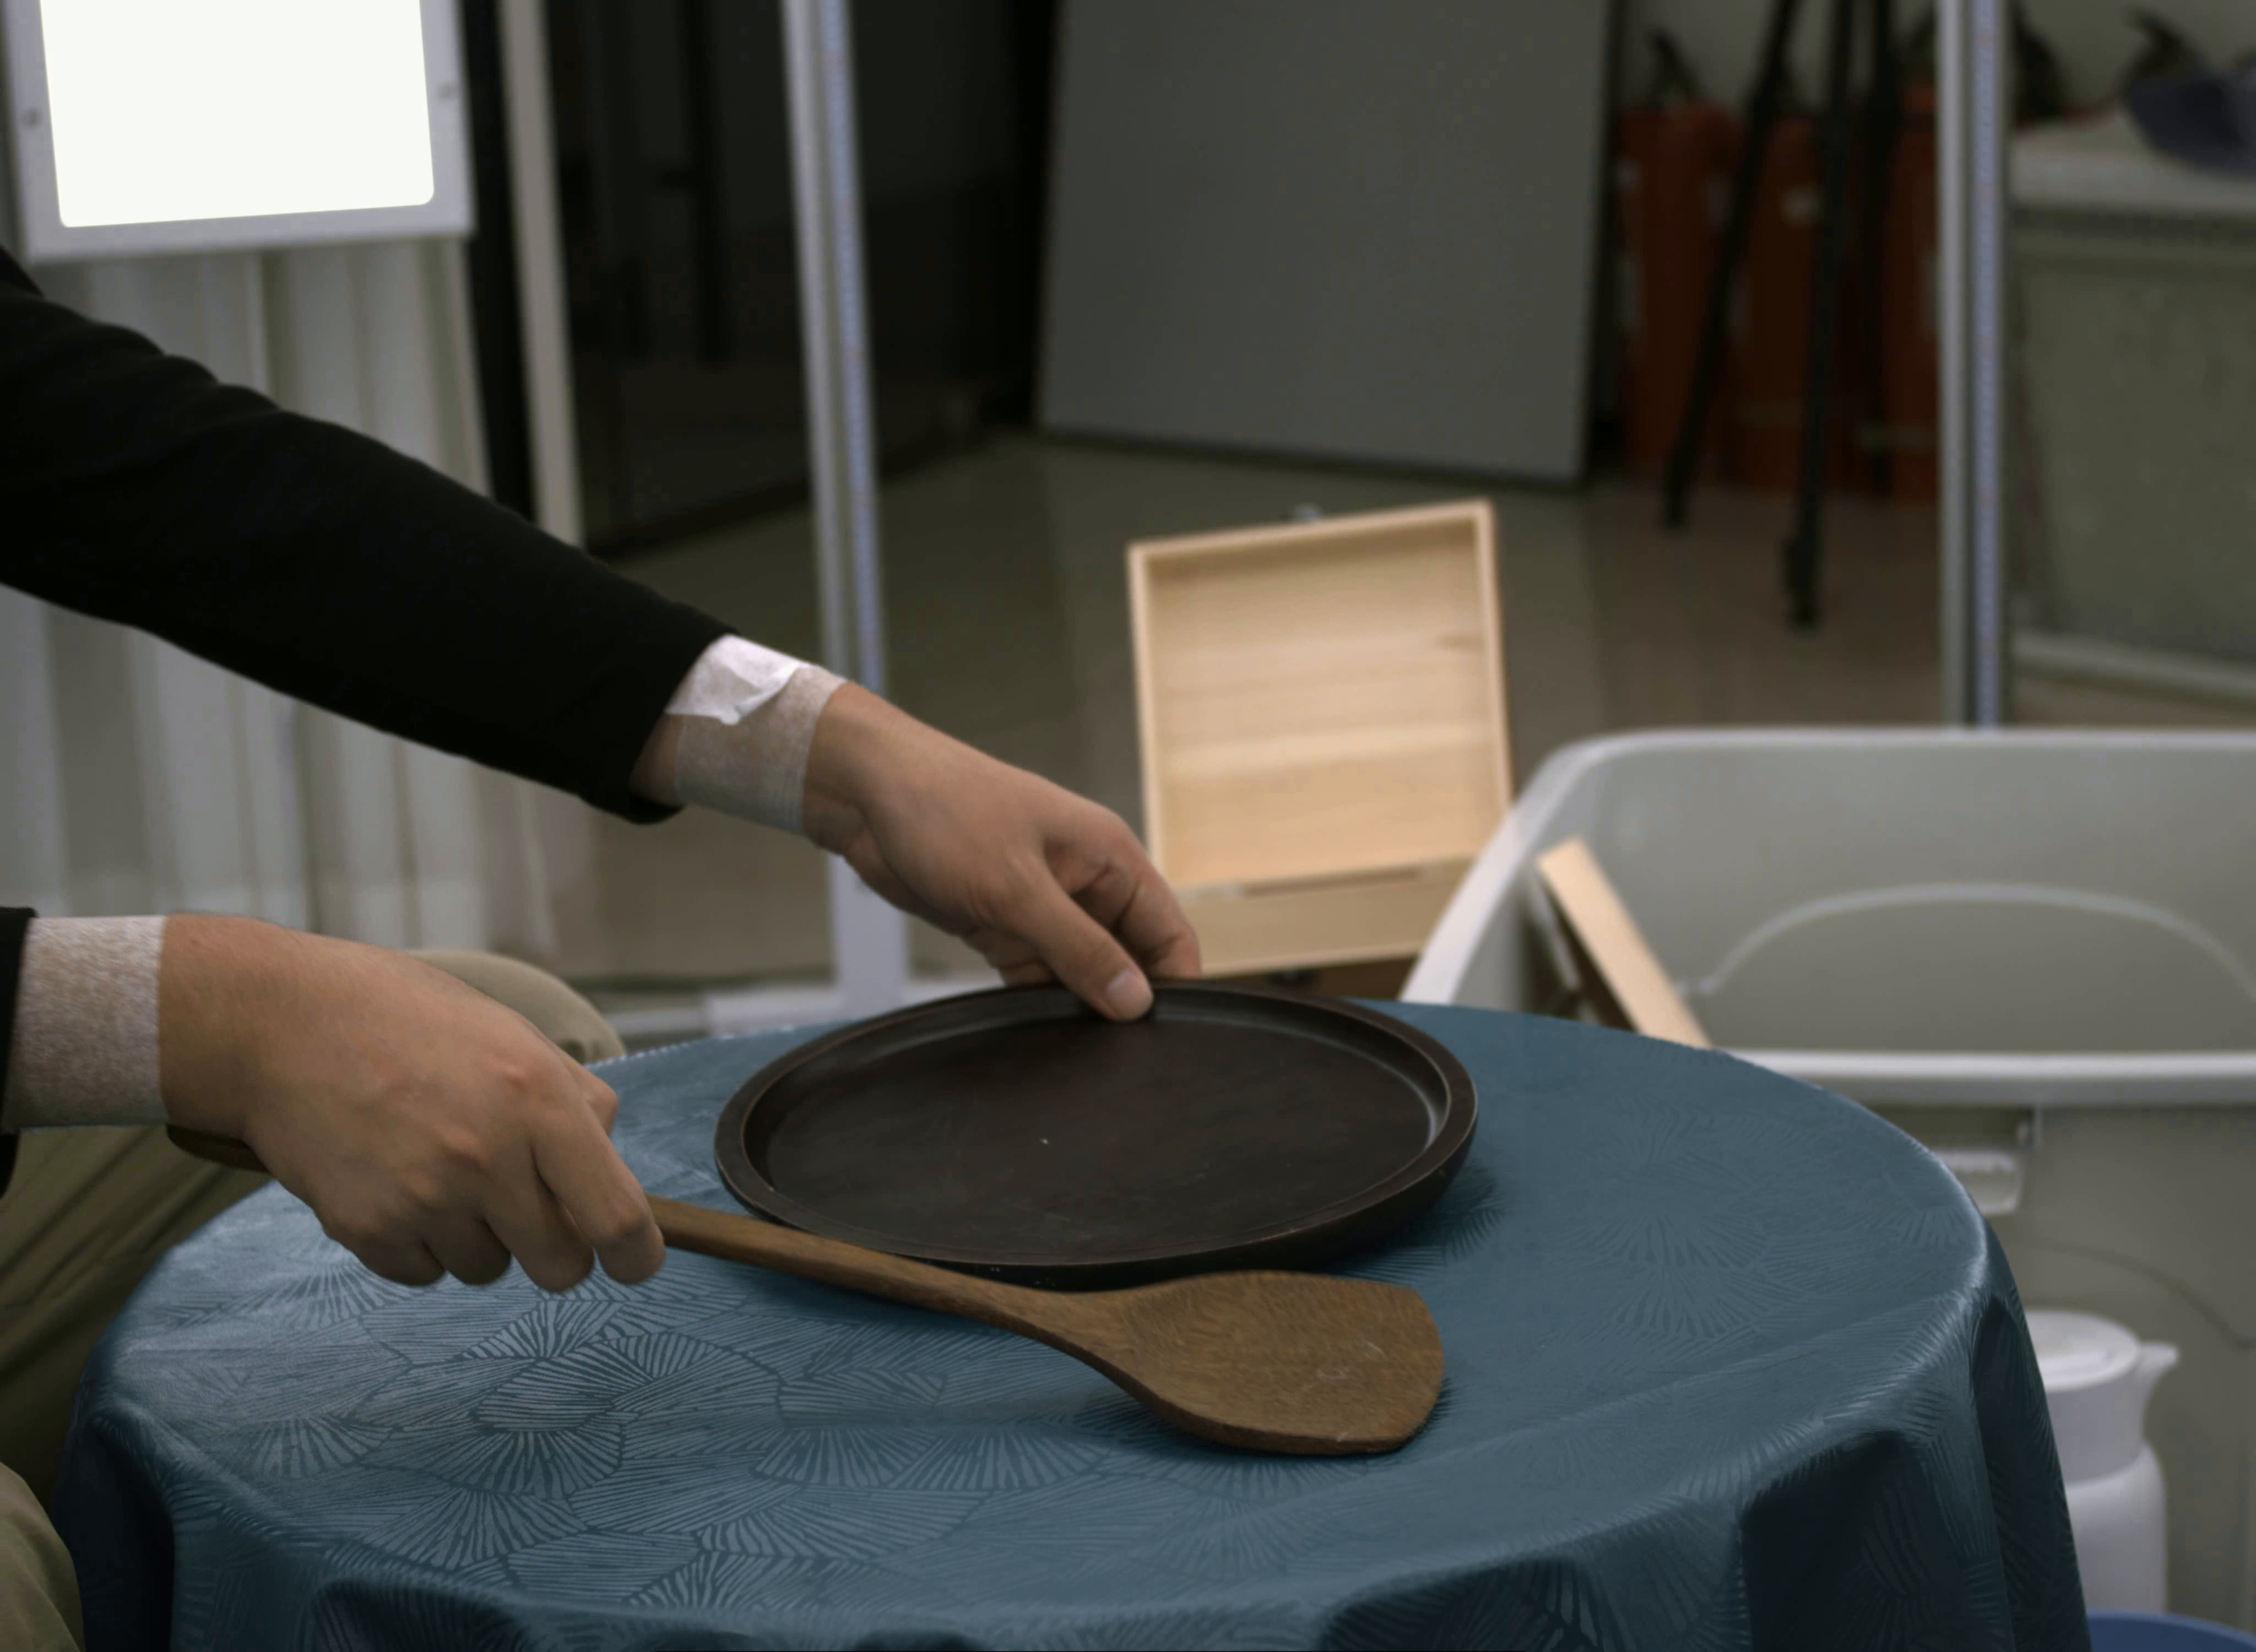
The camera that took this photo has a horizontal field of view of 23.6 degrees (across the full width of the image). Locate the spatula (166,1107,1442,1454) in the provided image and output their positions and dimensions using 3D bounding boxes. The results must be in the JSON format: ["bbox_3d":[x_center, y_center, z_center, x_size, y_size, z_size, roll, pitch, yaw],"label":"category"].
[{"bbox_3d":[-0.095,0.126,1.575,0.382,0.016,0.096,12,24,6],"label":"spatula"}]

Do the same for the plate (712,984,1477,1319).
[{"bbox_3d":[-0.011,0.105,1.763,0.251,0.029,0.255,-3,19,0],"label":"plate"}]
